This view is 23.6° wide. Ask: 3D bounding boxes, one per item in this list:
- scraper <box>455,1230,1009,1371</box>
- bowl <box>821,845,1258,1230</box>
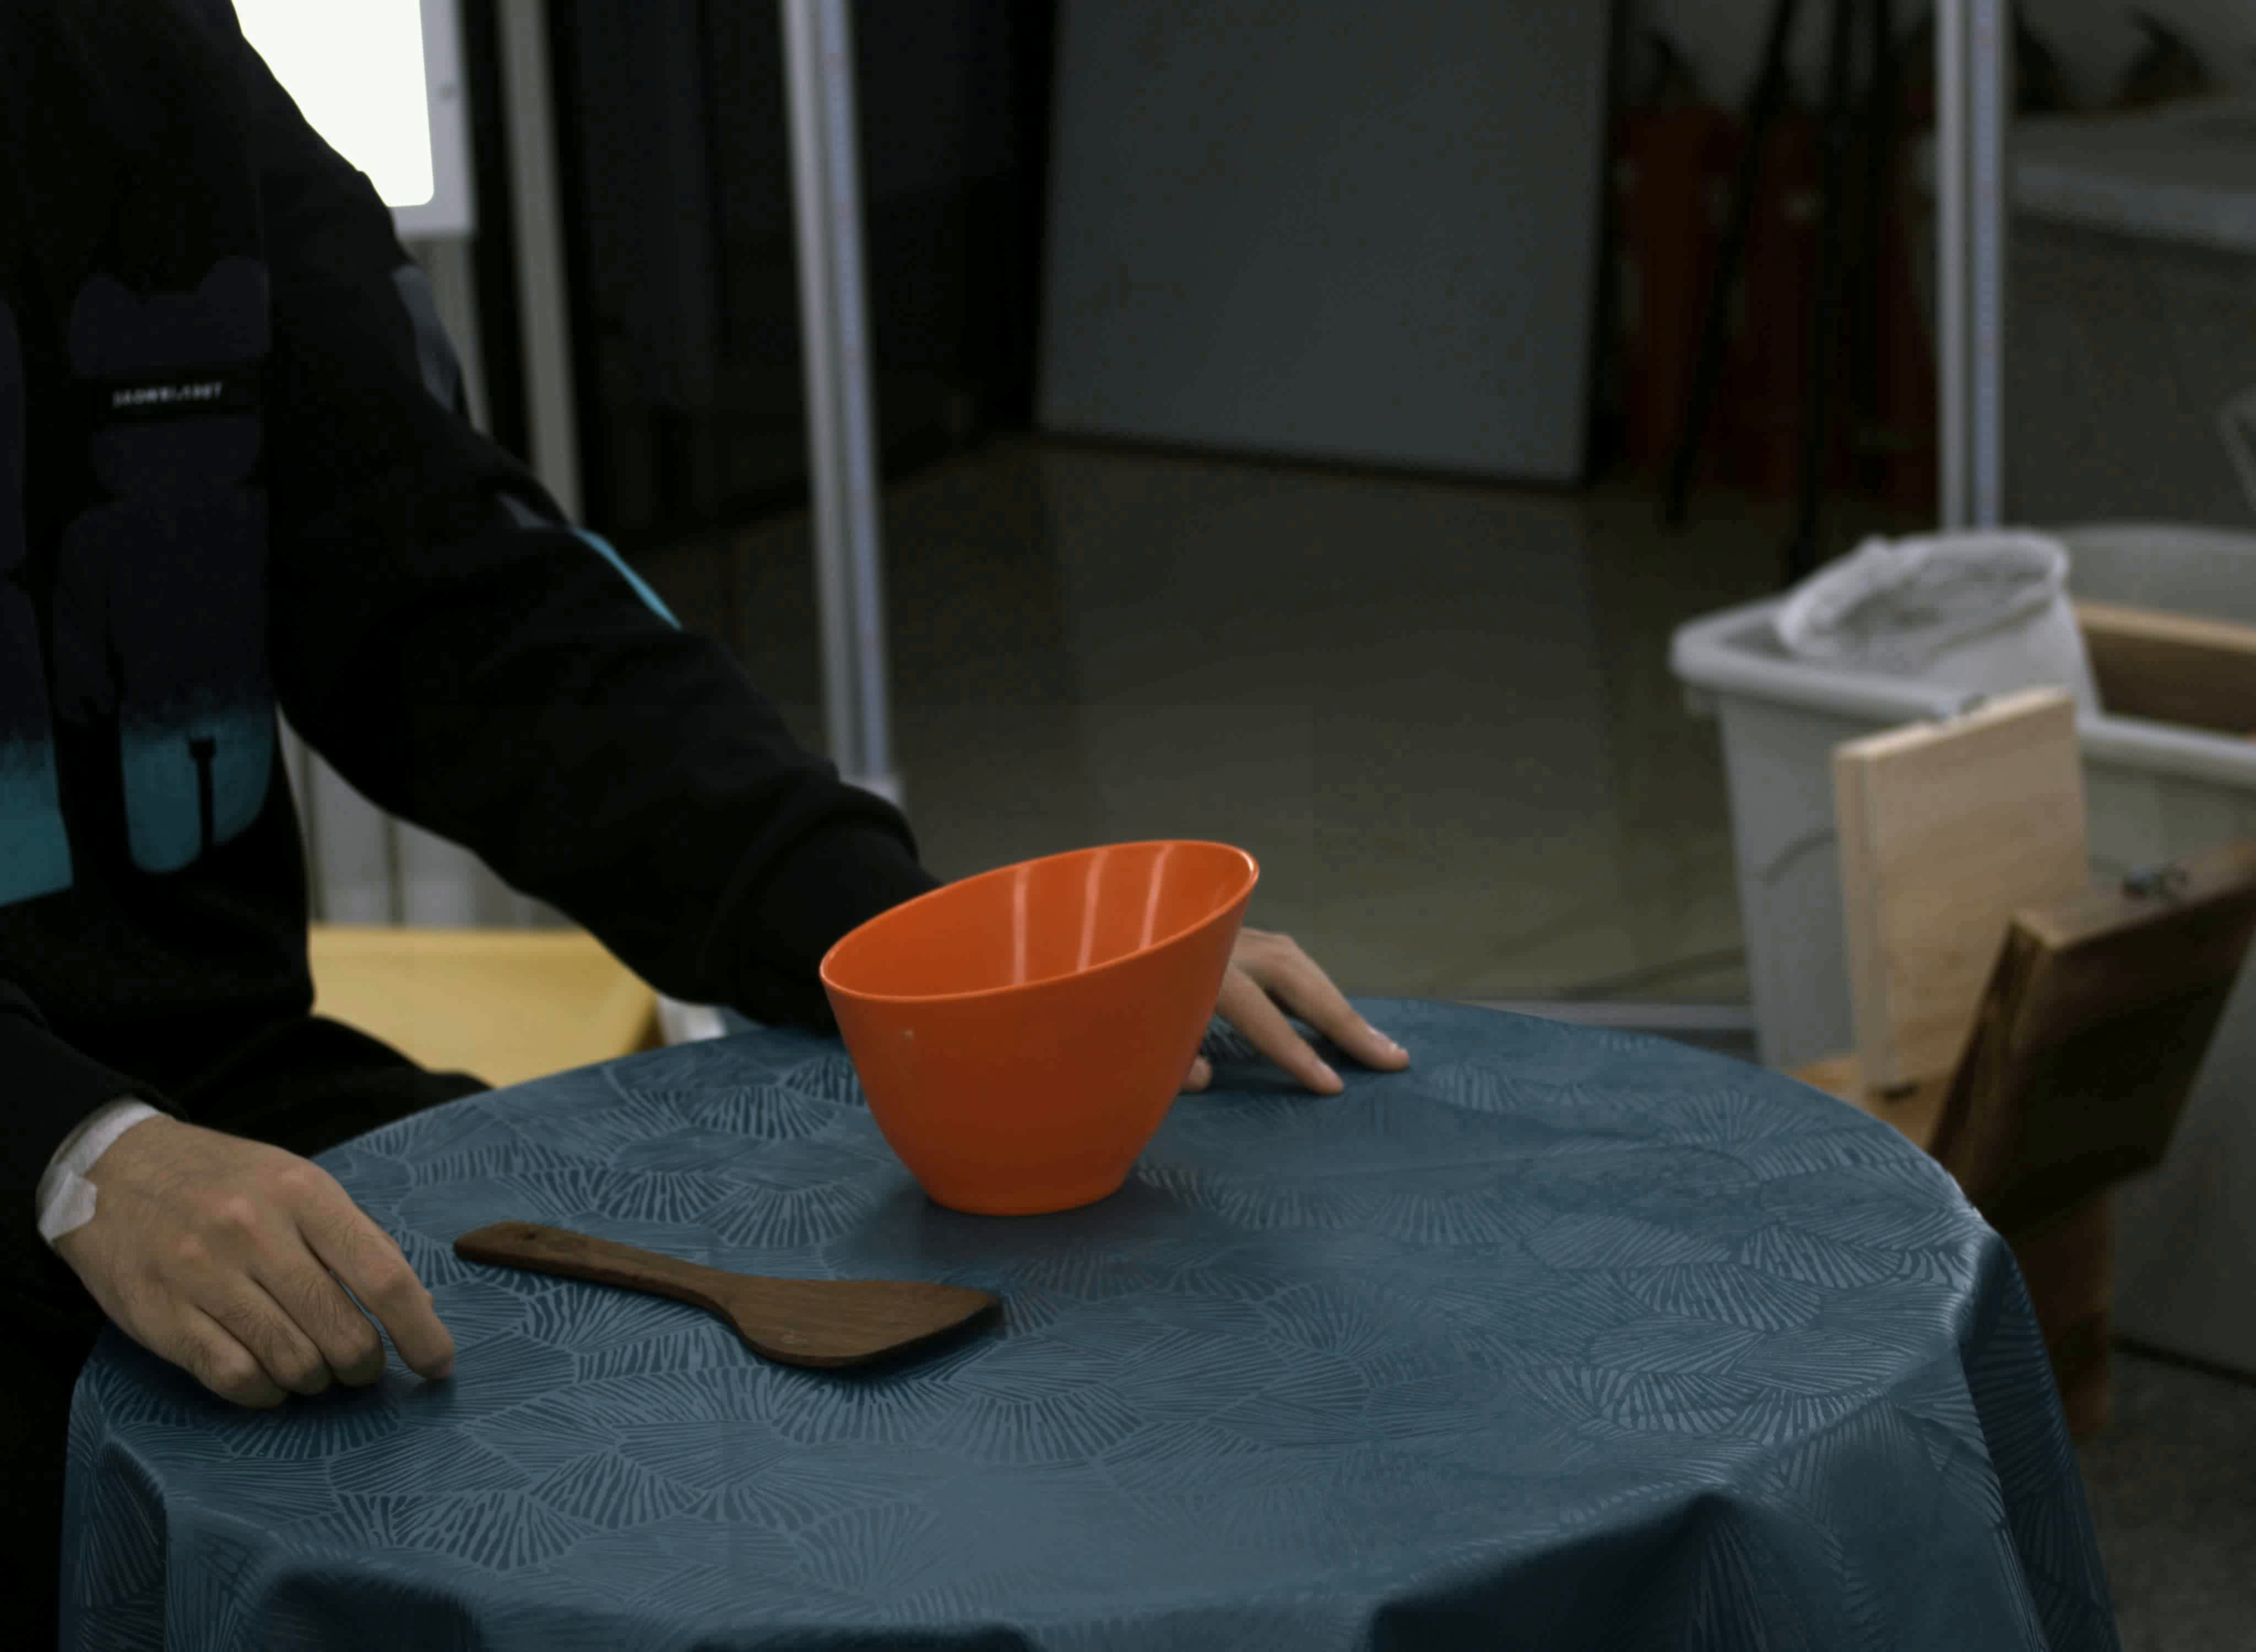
[{"bbox_3d":[-0.132,0.146,1.694,0.213,0.011,0.074,7,16,41],"label":"scraper"},{"bbox_3d":[-0.025,0.072,1.772,0.146,0.106,0.148,-6,14,0],"label":"bowl"}]
